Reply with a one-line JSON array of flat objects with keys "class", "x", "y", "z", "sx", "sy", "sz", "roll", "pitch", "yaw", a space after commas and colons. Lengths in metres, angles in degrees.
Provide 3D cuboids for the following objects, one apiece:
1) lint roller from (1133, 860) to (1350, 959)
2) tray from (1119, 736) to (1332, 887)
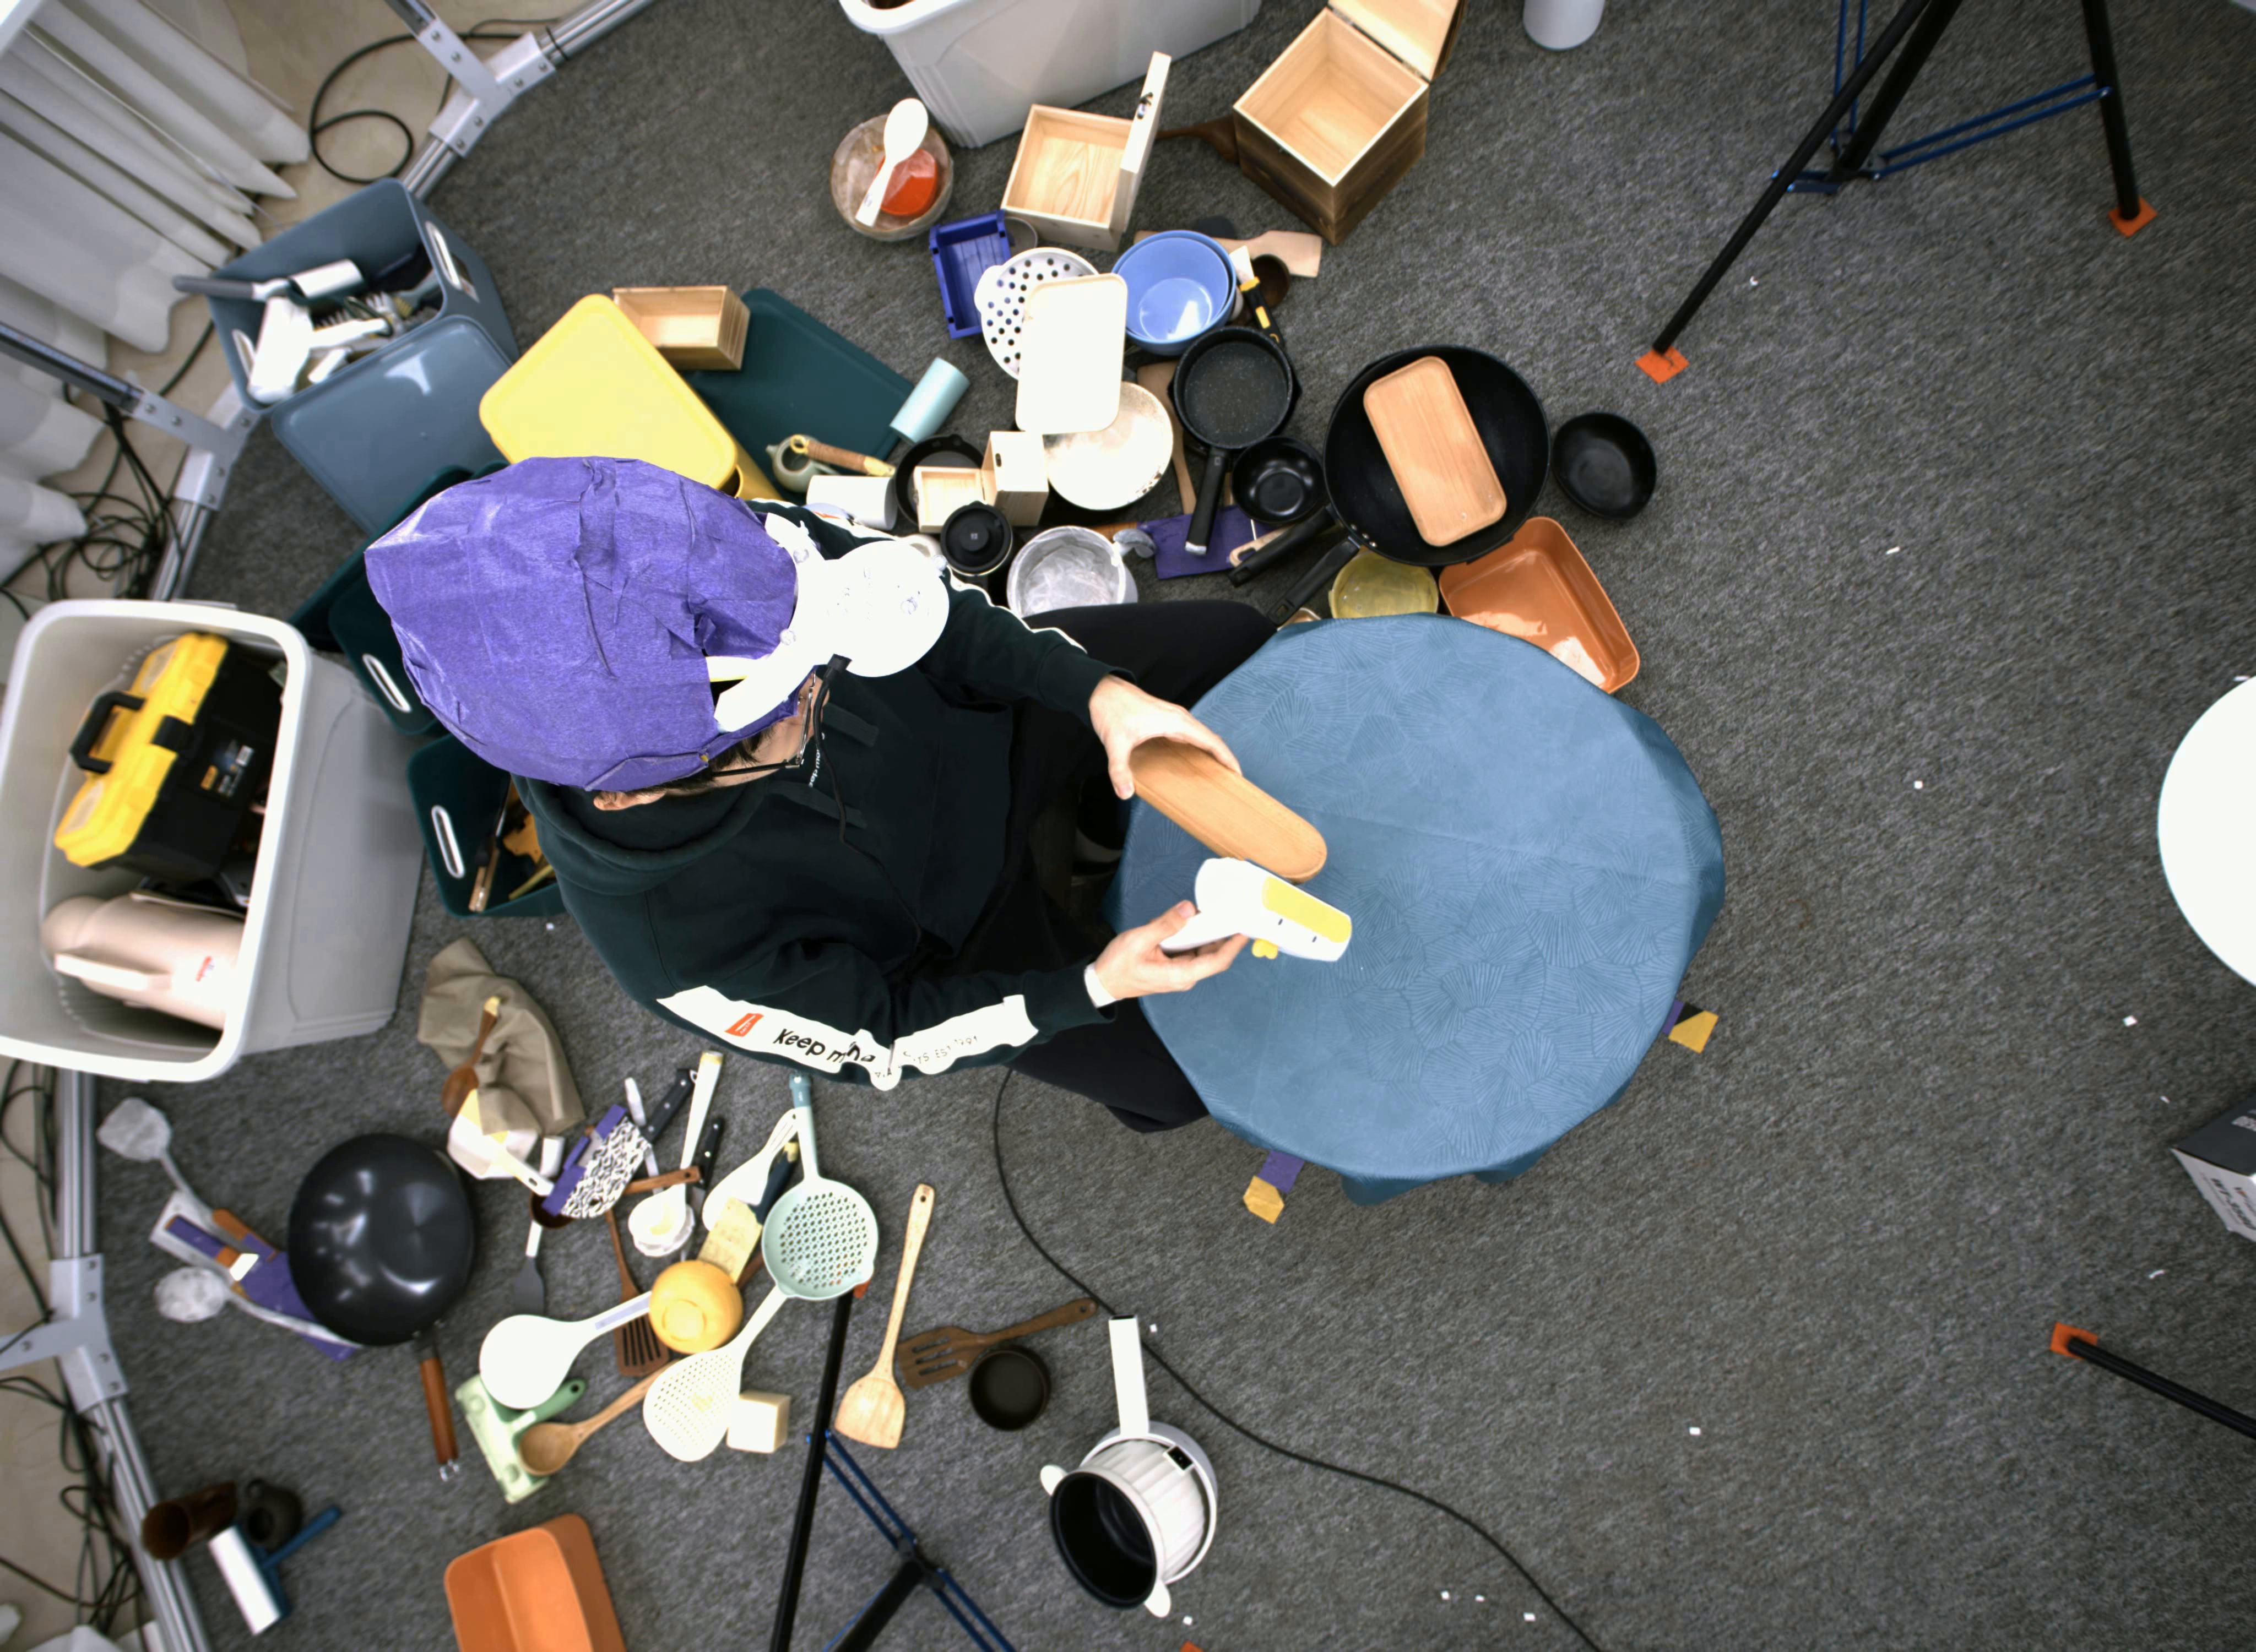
[{"class": "lint roller", "x": 0.083, "y": 0.087, "z": 1.275, "sx": 0.194, "sy": 0.193, "sz": 0.073, "roll": -7, "pitch": 73, "yaw": 43}, {"class": "tray", "x": 0.089, "y": -0.016, "z": 1.304, "sx": 0.229, "sy": 0.099, "sz": 0.021, "roll": 37, "pitch": 135, "yaw": 22}]
